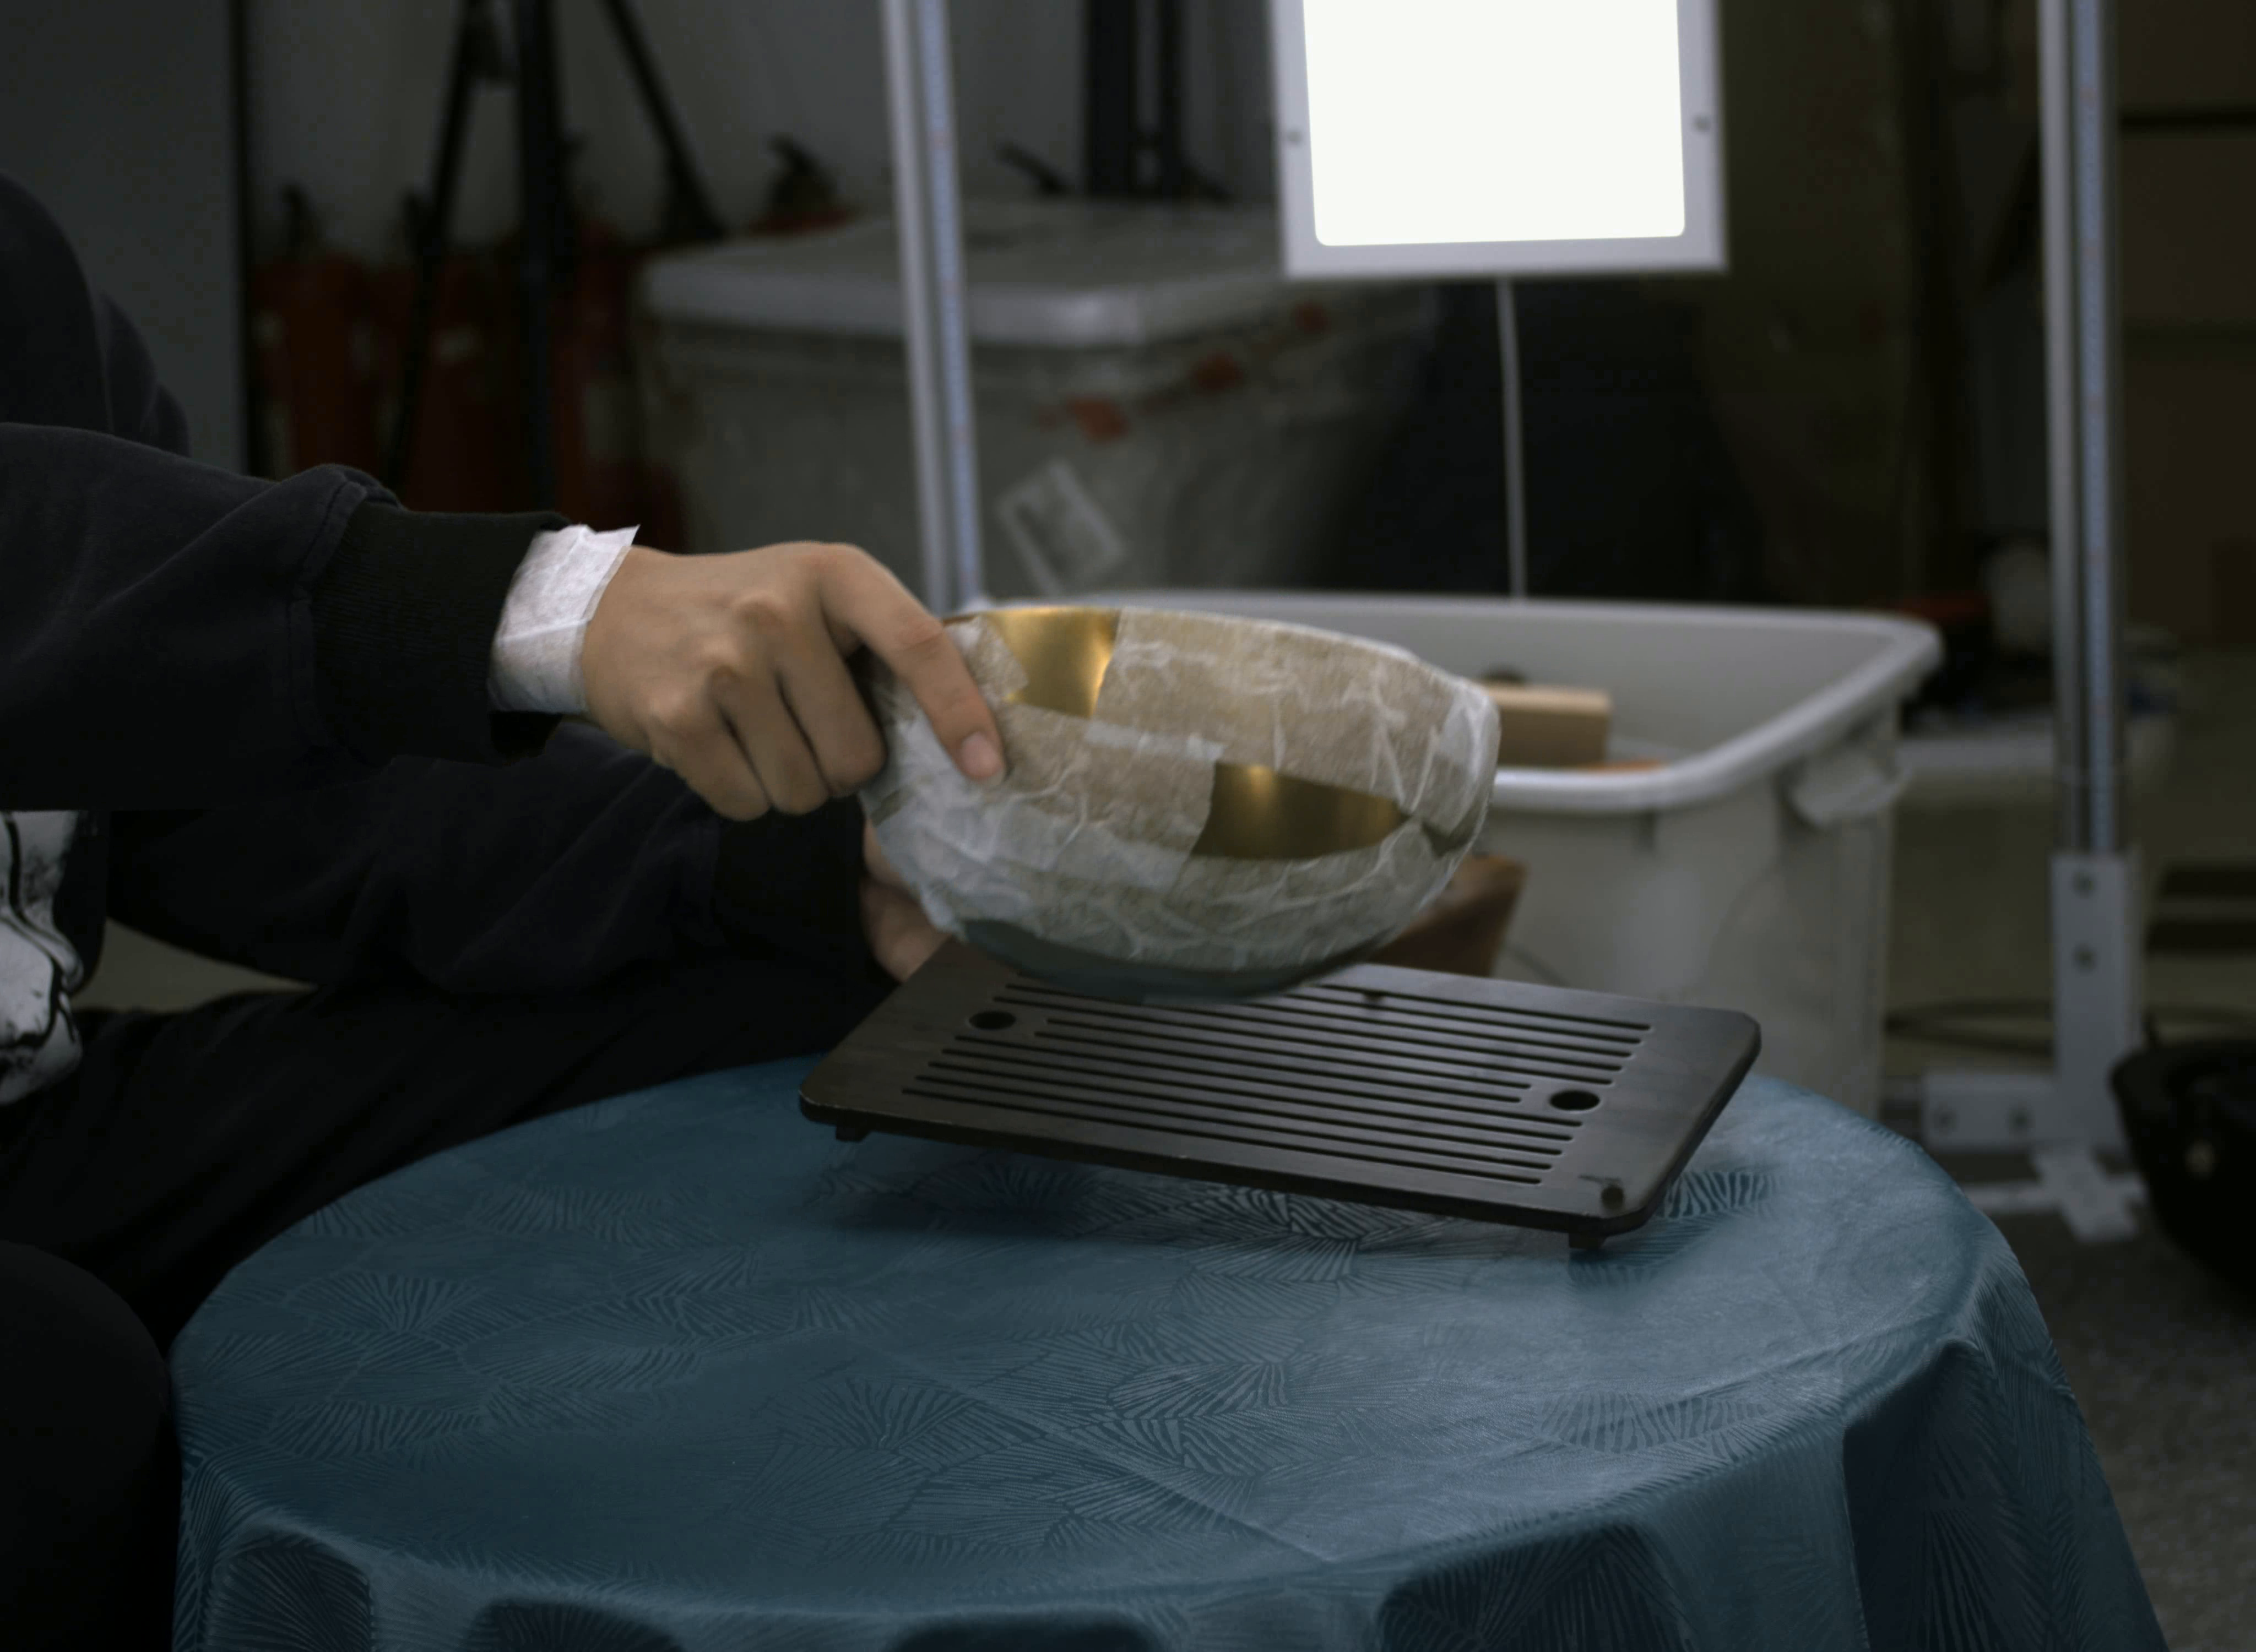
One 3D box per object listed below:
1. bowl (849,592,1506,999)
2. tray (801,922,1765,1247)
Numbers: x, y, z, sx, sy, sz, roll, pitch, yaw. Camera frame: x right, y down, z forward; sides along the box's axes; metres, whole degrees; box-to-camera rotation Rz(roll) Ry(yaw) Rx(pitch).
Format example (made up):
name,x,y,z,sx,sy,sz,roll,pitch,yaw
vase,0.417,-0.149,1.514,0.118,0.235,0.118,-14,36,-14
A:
name,x,y,z,sx,sy,sz,roll,pitch,yaw
bowl,0.011,0.001,1.675,0.214,0.094,0.215,5,-13,0
tray,0.055,0.087,1.909,0.310,0.019,0.167,7,24,22
